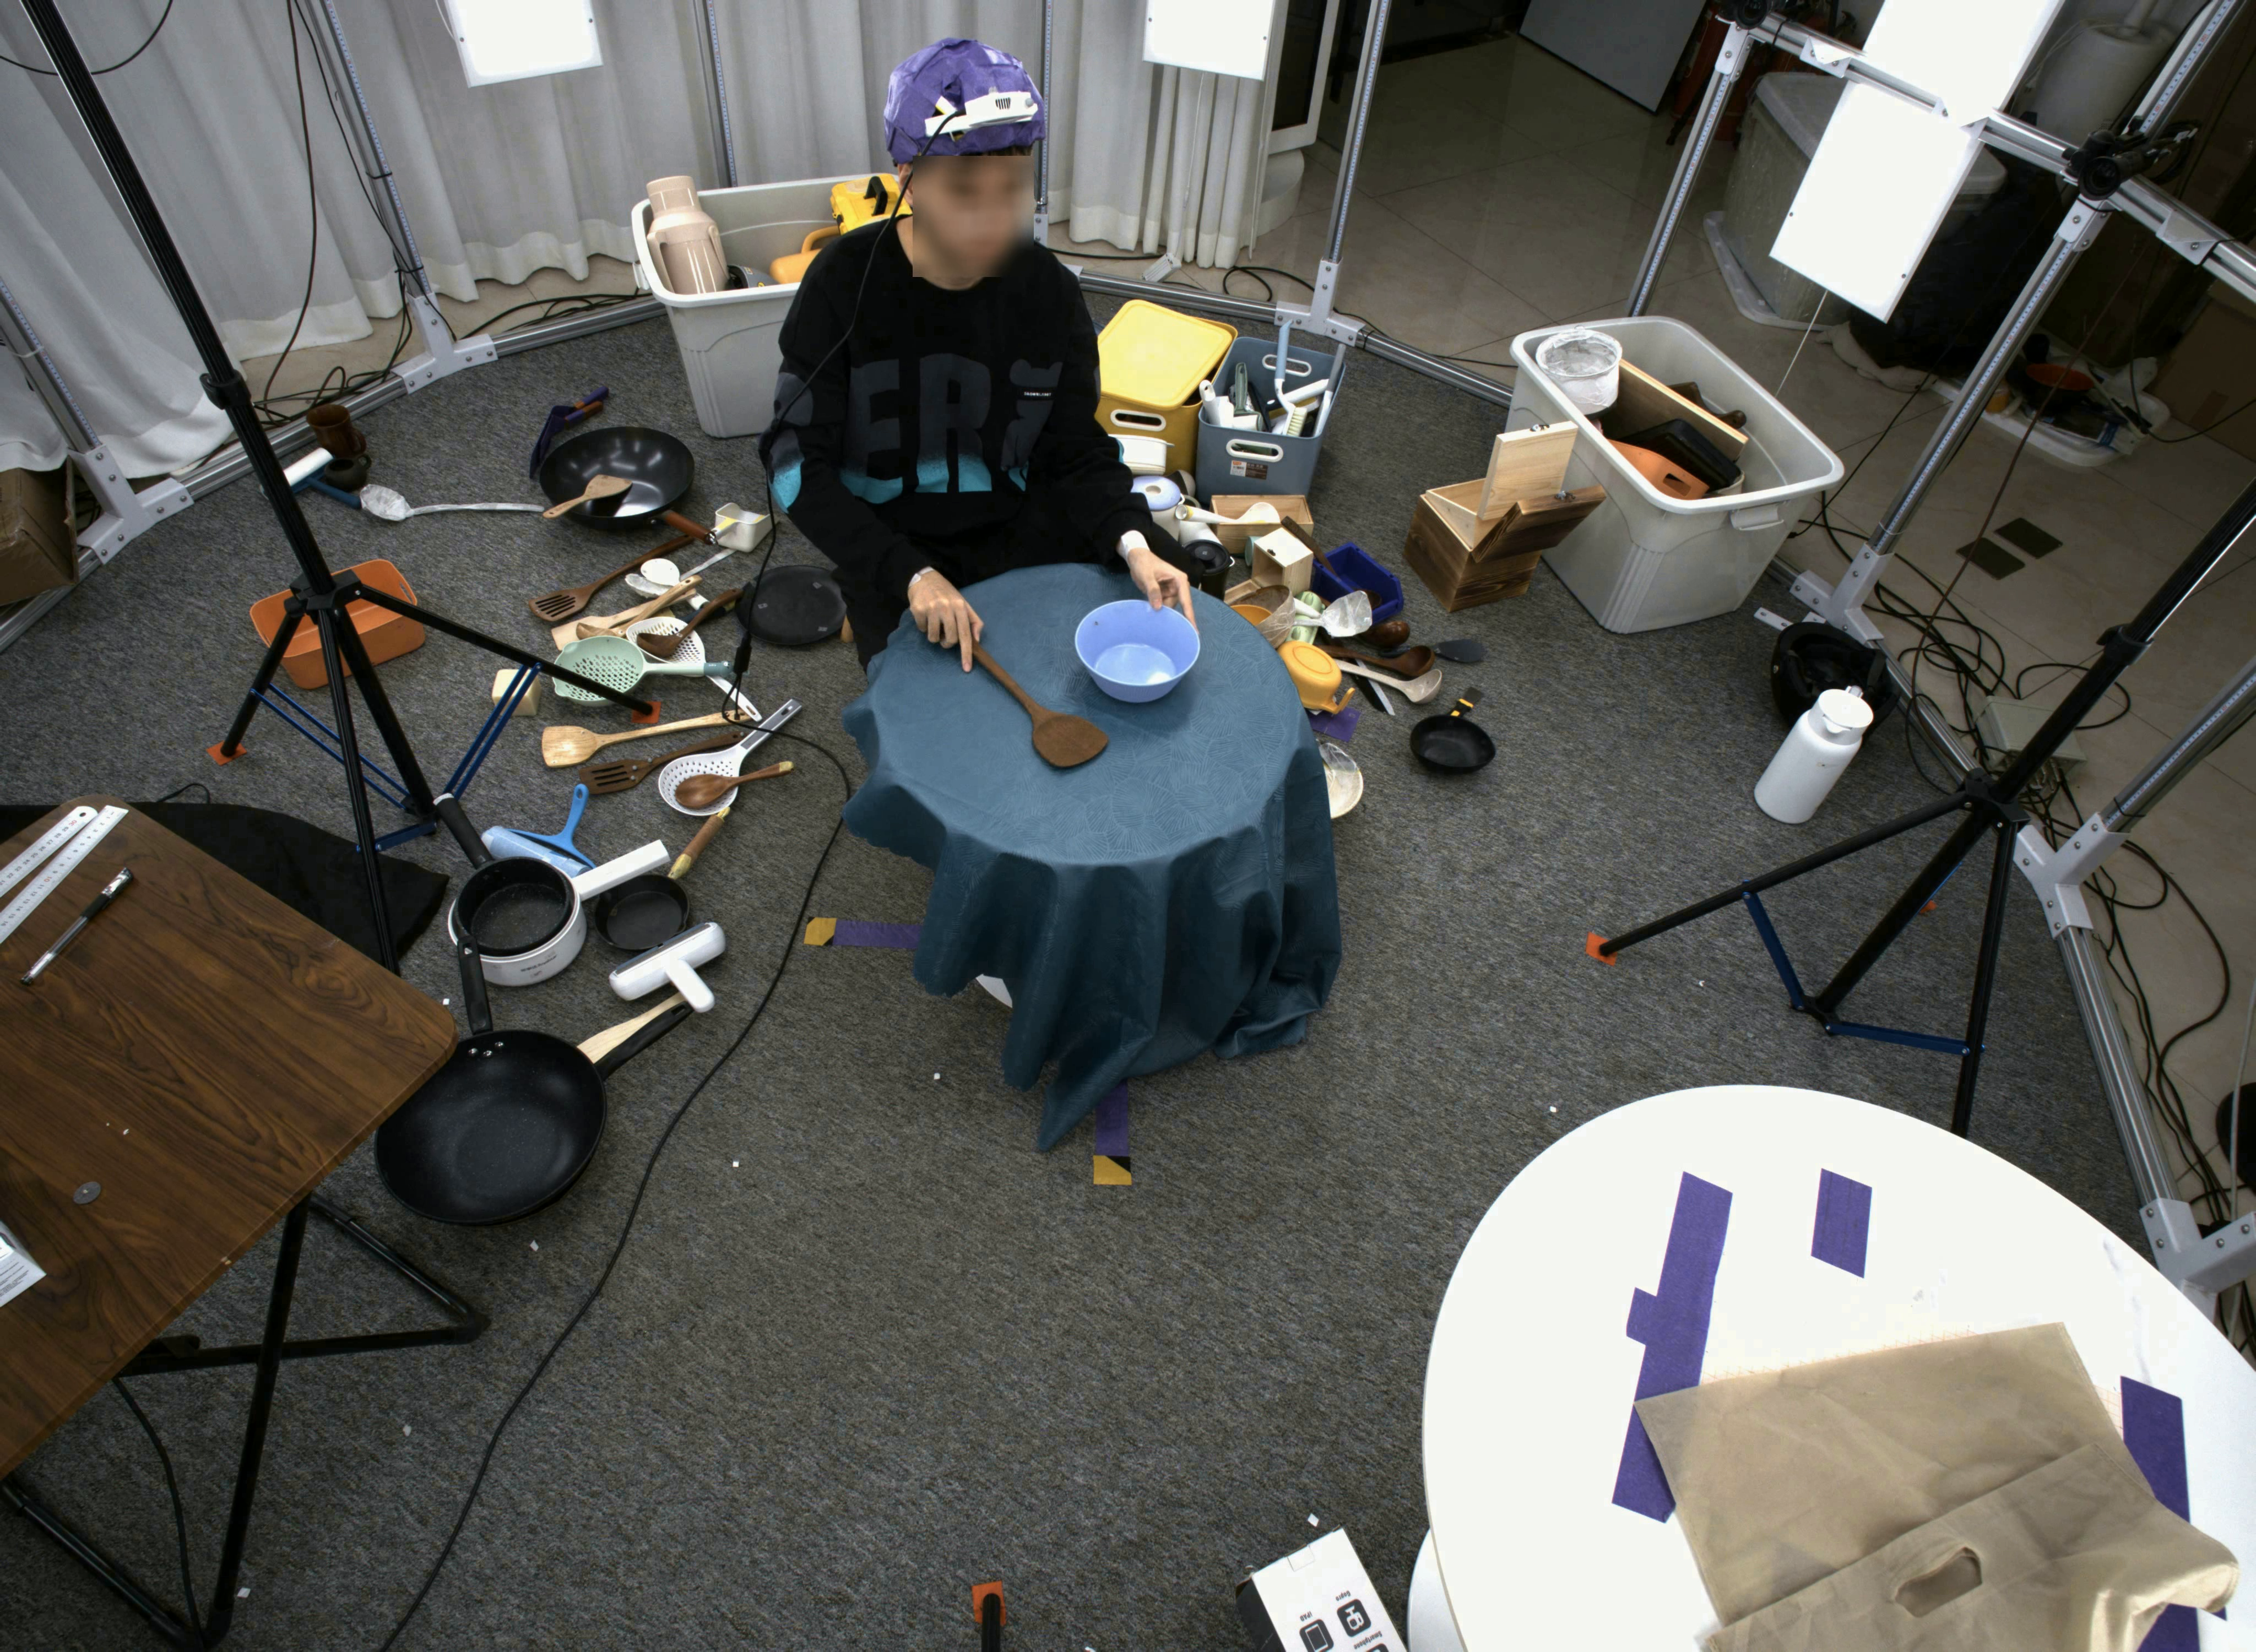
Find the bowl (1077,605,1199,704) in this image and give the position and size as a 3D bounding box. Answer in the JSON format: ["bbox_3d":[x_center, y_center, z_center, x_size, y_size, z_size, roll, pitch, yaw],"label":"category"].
[{"bbox_3d":[0.013,-0.238,1.848,0.176,0.068,0.180,1,48,-2],"label":"bowl"}]

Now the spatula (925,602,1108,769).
[{"bbox_3d":[-0.176,-0.212,1.841,0.097,0.015,0.392,-30,60,-27],"label":"spatula"}]
